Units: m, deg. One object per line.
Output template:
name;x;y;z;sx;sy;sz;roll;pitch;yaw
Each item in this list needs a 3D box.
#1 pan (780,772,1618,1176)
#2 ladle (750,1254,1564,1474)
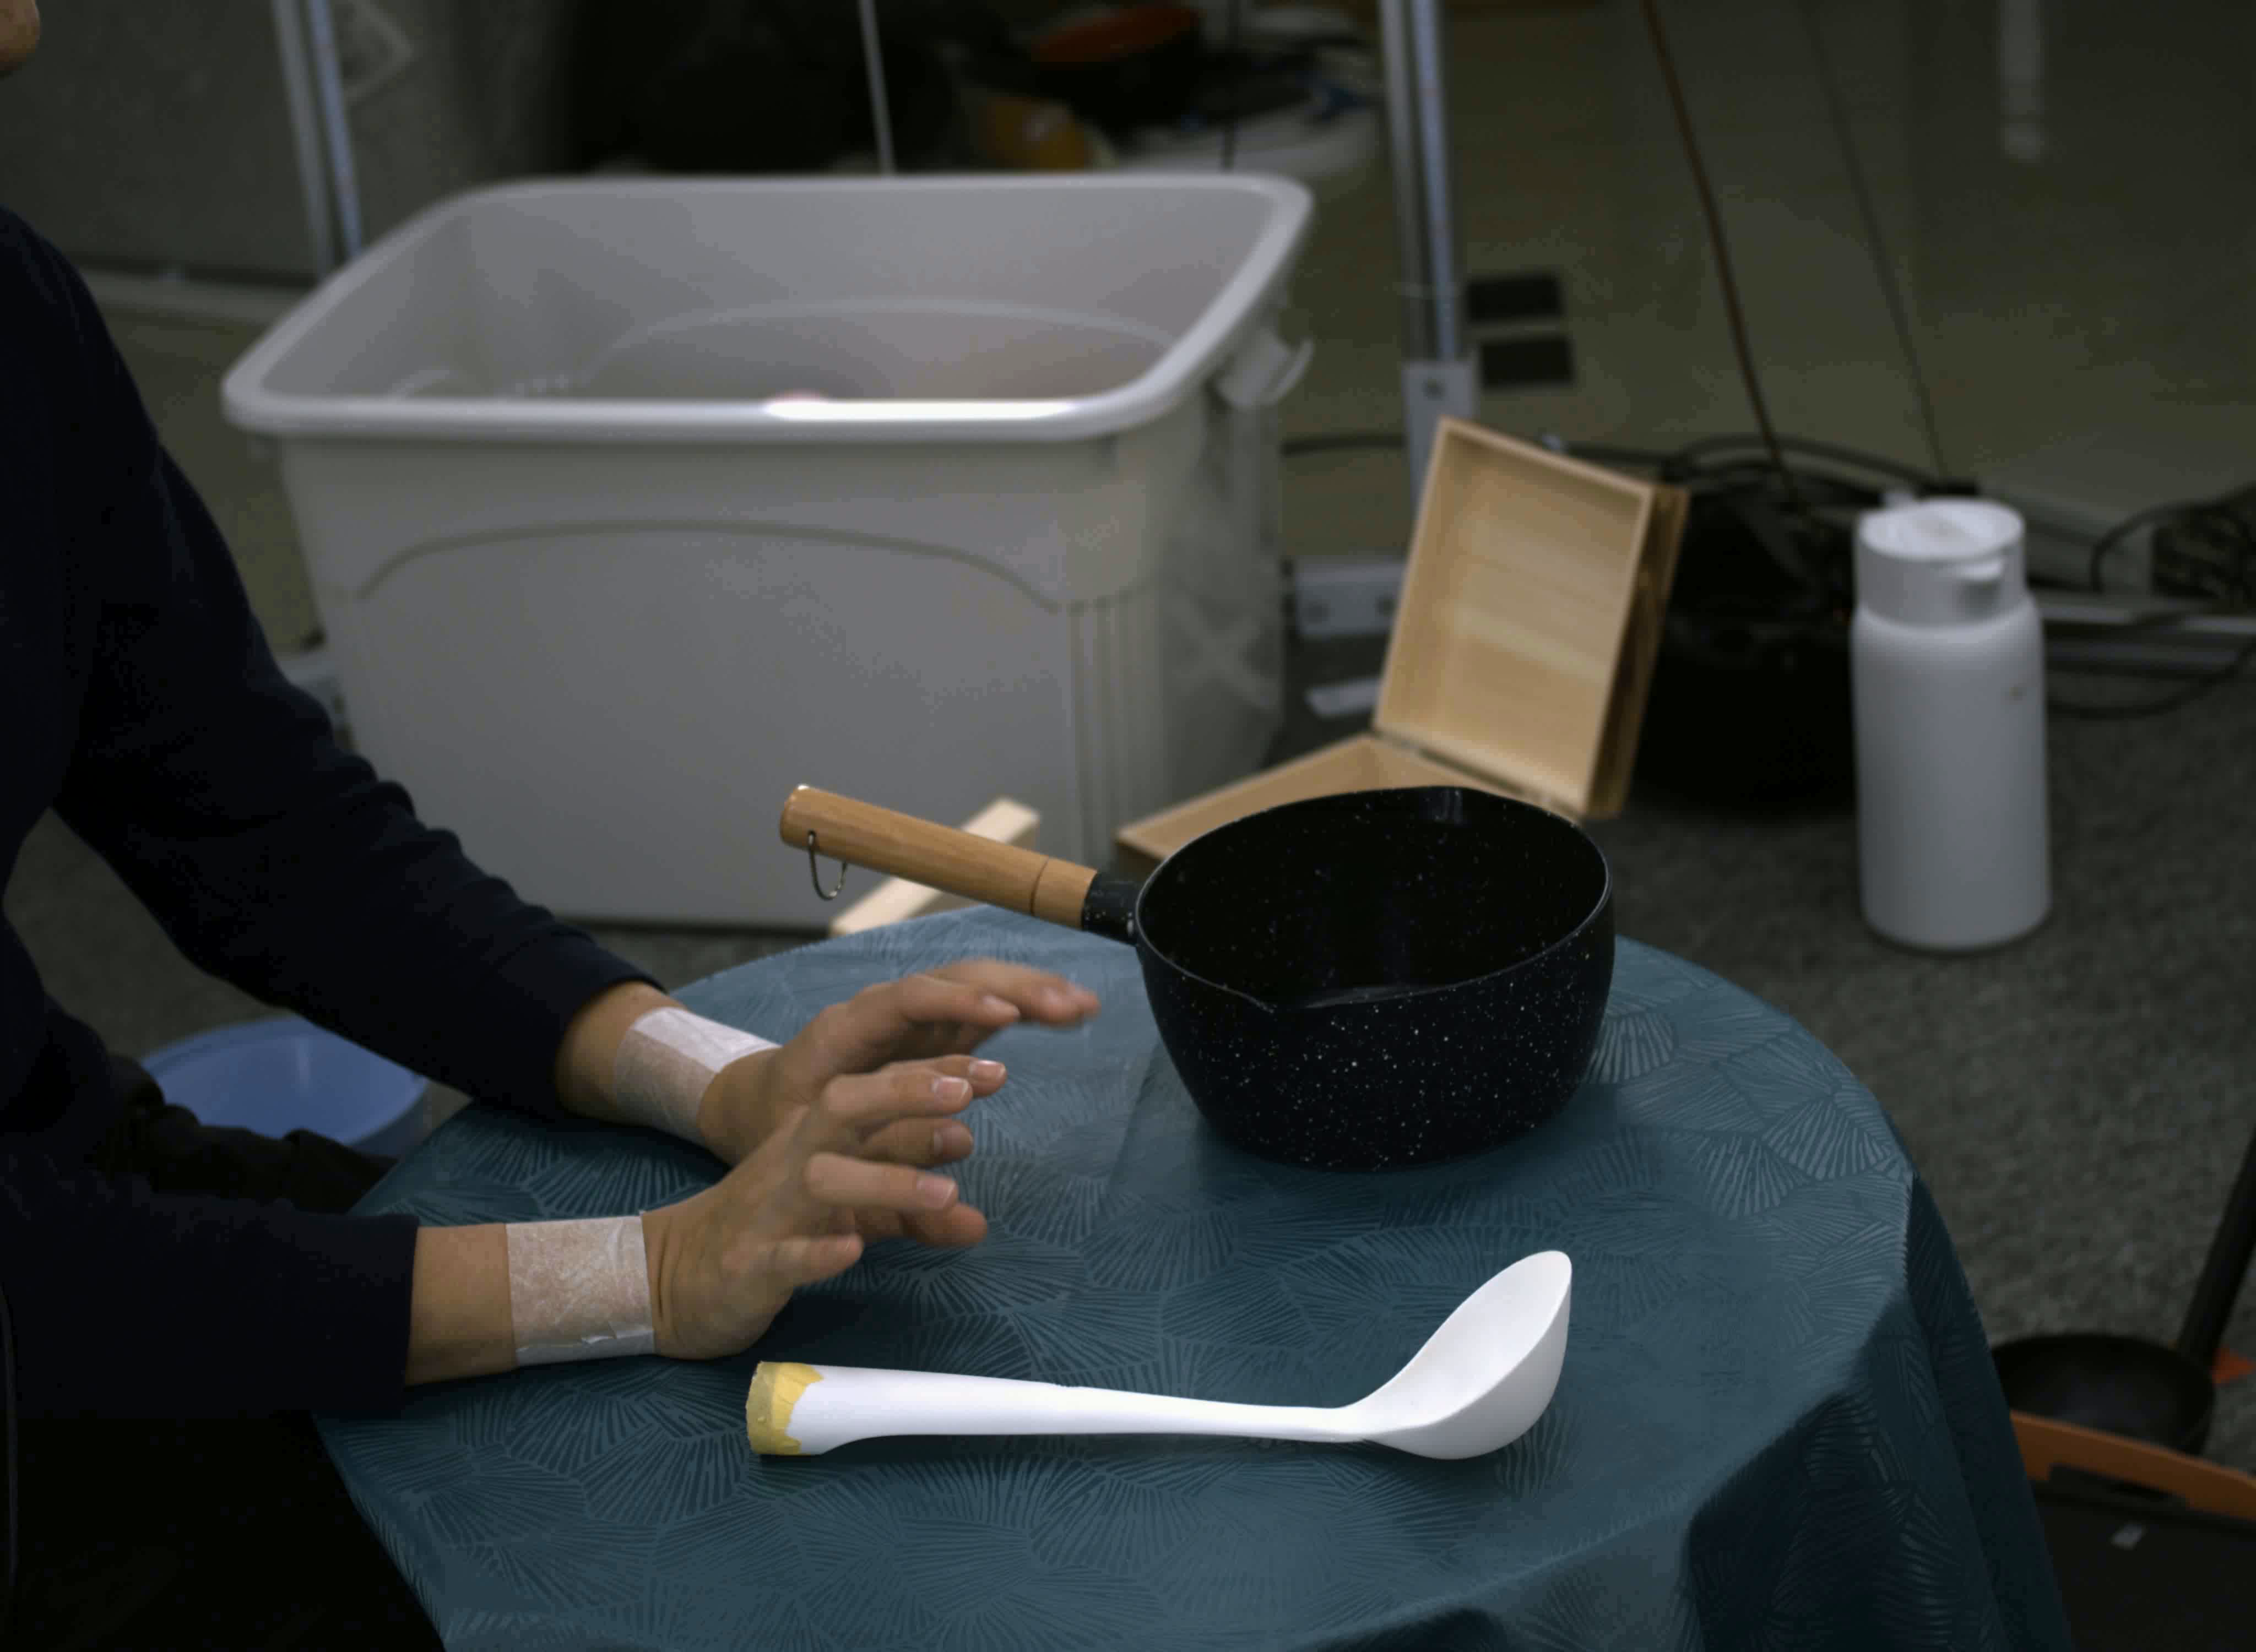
pan;0.023;0.046;2.209;0.342;0.110;0.204;5;29;21
ladle;0.009;0.190;1.959;0.292;0.071;0.088;-1;33;13
